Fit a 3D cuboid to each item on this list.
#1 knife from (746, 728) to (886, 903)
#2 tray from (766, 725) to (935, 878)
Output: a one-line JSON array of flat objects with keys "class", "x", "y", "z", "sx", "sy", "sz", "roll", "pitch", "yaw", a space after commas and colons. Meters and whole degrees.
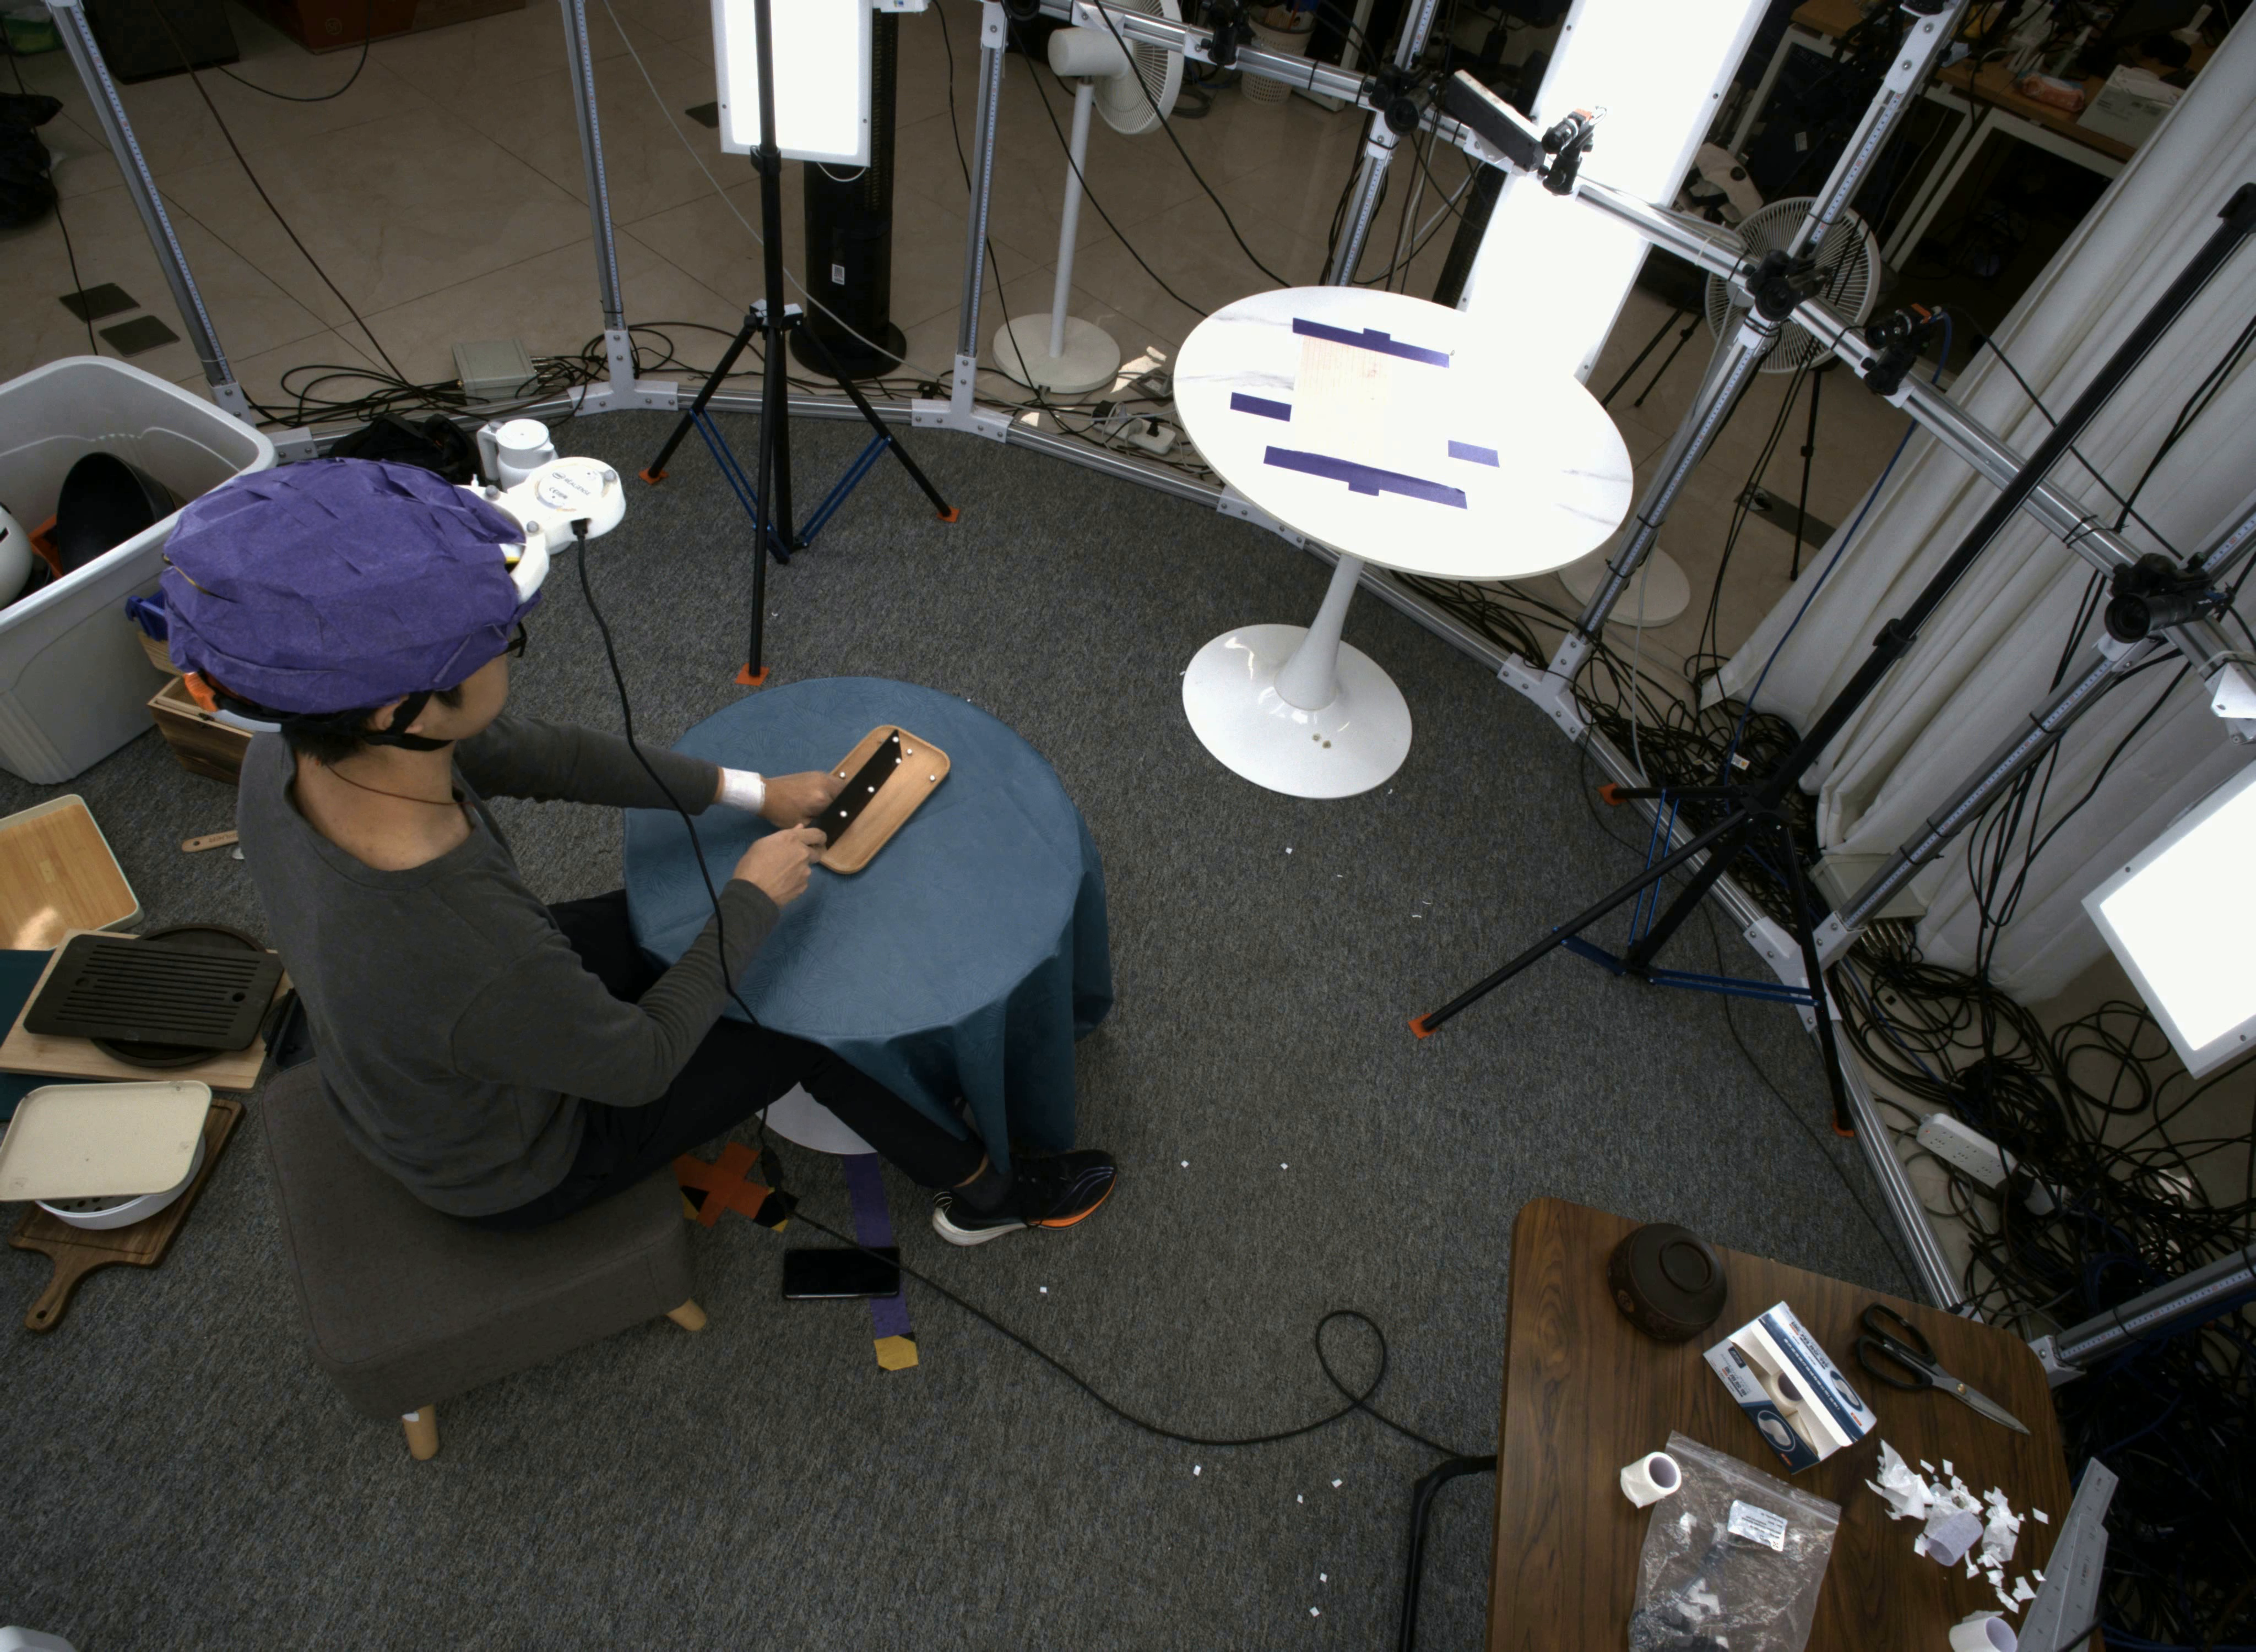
[{"class": "knife", "x": -0.394, "y": -0.012, "z": 1.666, "sx": 0.020, "sy": 0.083, "sz": 0.300, "roll": 19, "pitch": 47, "yaw": 17}, {"class": "tray", "x": -0.374, "y": -0.037, "z": 1.765, "sx": 0.128, "sy": 0.023, "sz": 0.250, "roll": 28, "pitch": 54, "yaw": 10}]
